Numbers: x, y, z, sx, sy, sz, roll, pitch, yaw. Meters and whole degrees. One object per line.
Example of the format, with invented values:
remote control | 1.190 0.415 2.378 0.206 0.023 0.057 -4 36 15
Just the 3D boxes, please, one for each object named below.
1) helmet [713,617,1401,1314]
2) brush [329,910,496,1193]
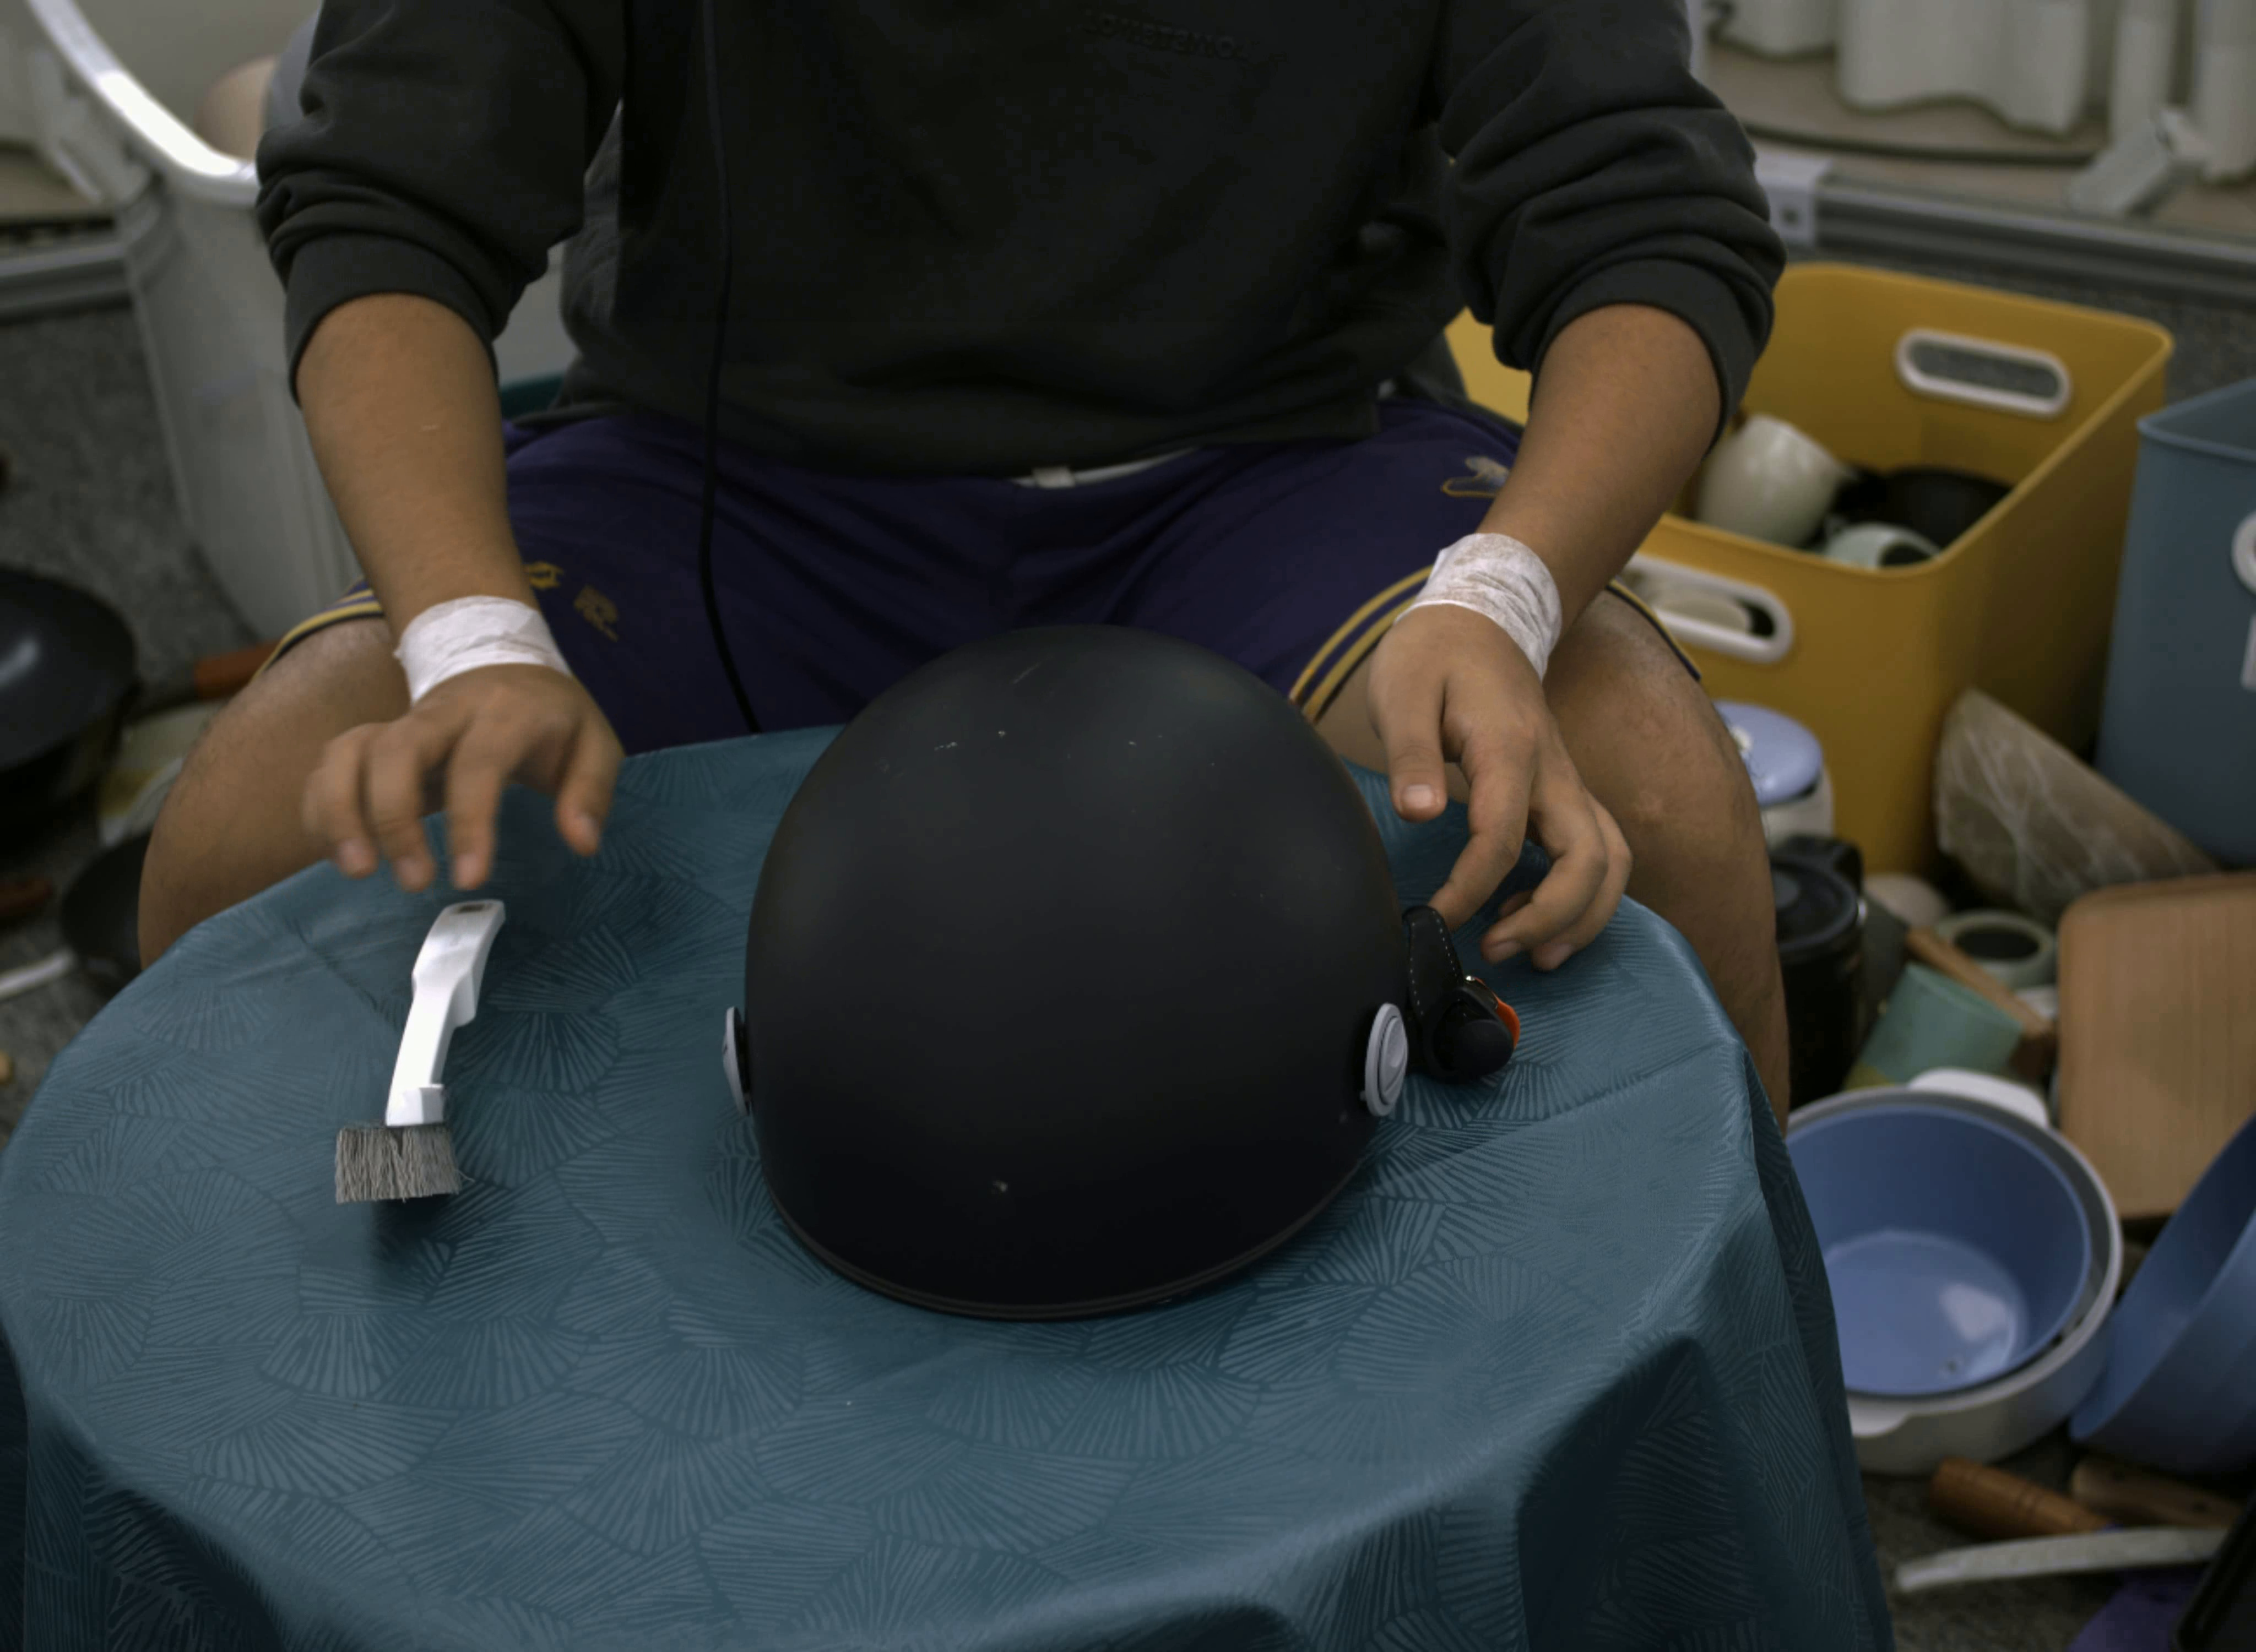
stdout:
helmet | -0.023 0.027 1.878 0.228 0.165 0.278 0 29 12
brush | -0.241 0.081 1.940 0.034 0.050 0.245 -6 14 2
